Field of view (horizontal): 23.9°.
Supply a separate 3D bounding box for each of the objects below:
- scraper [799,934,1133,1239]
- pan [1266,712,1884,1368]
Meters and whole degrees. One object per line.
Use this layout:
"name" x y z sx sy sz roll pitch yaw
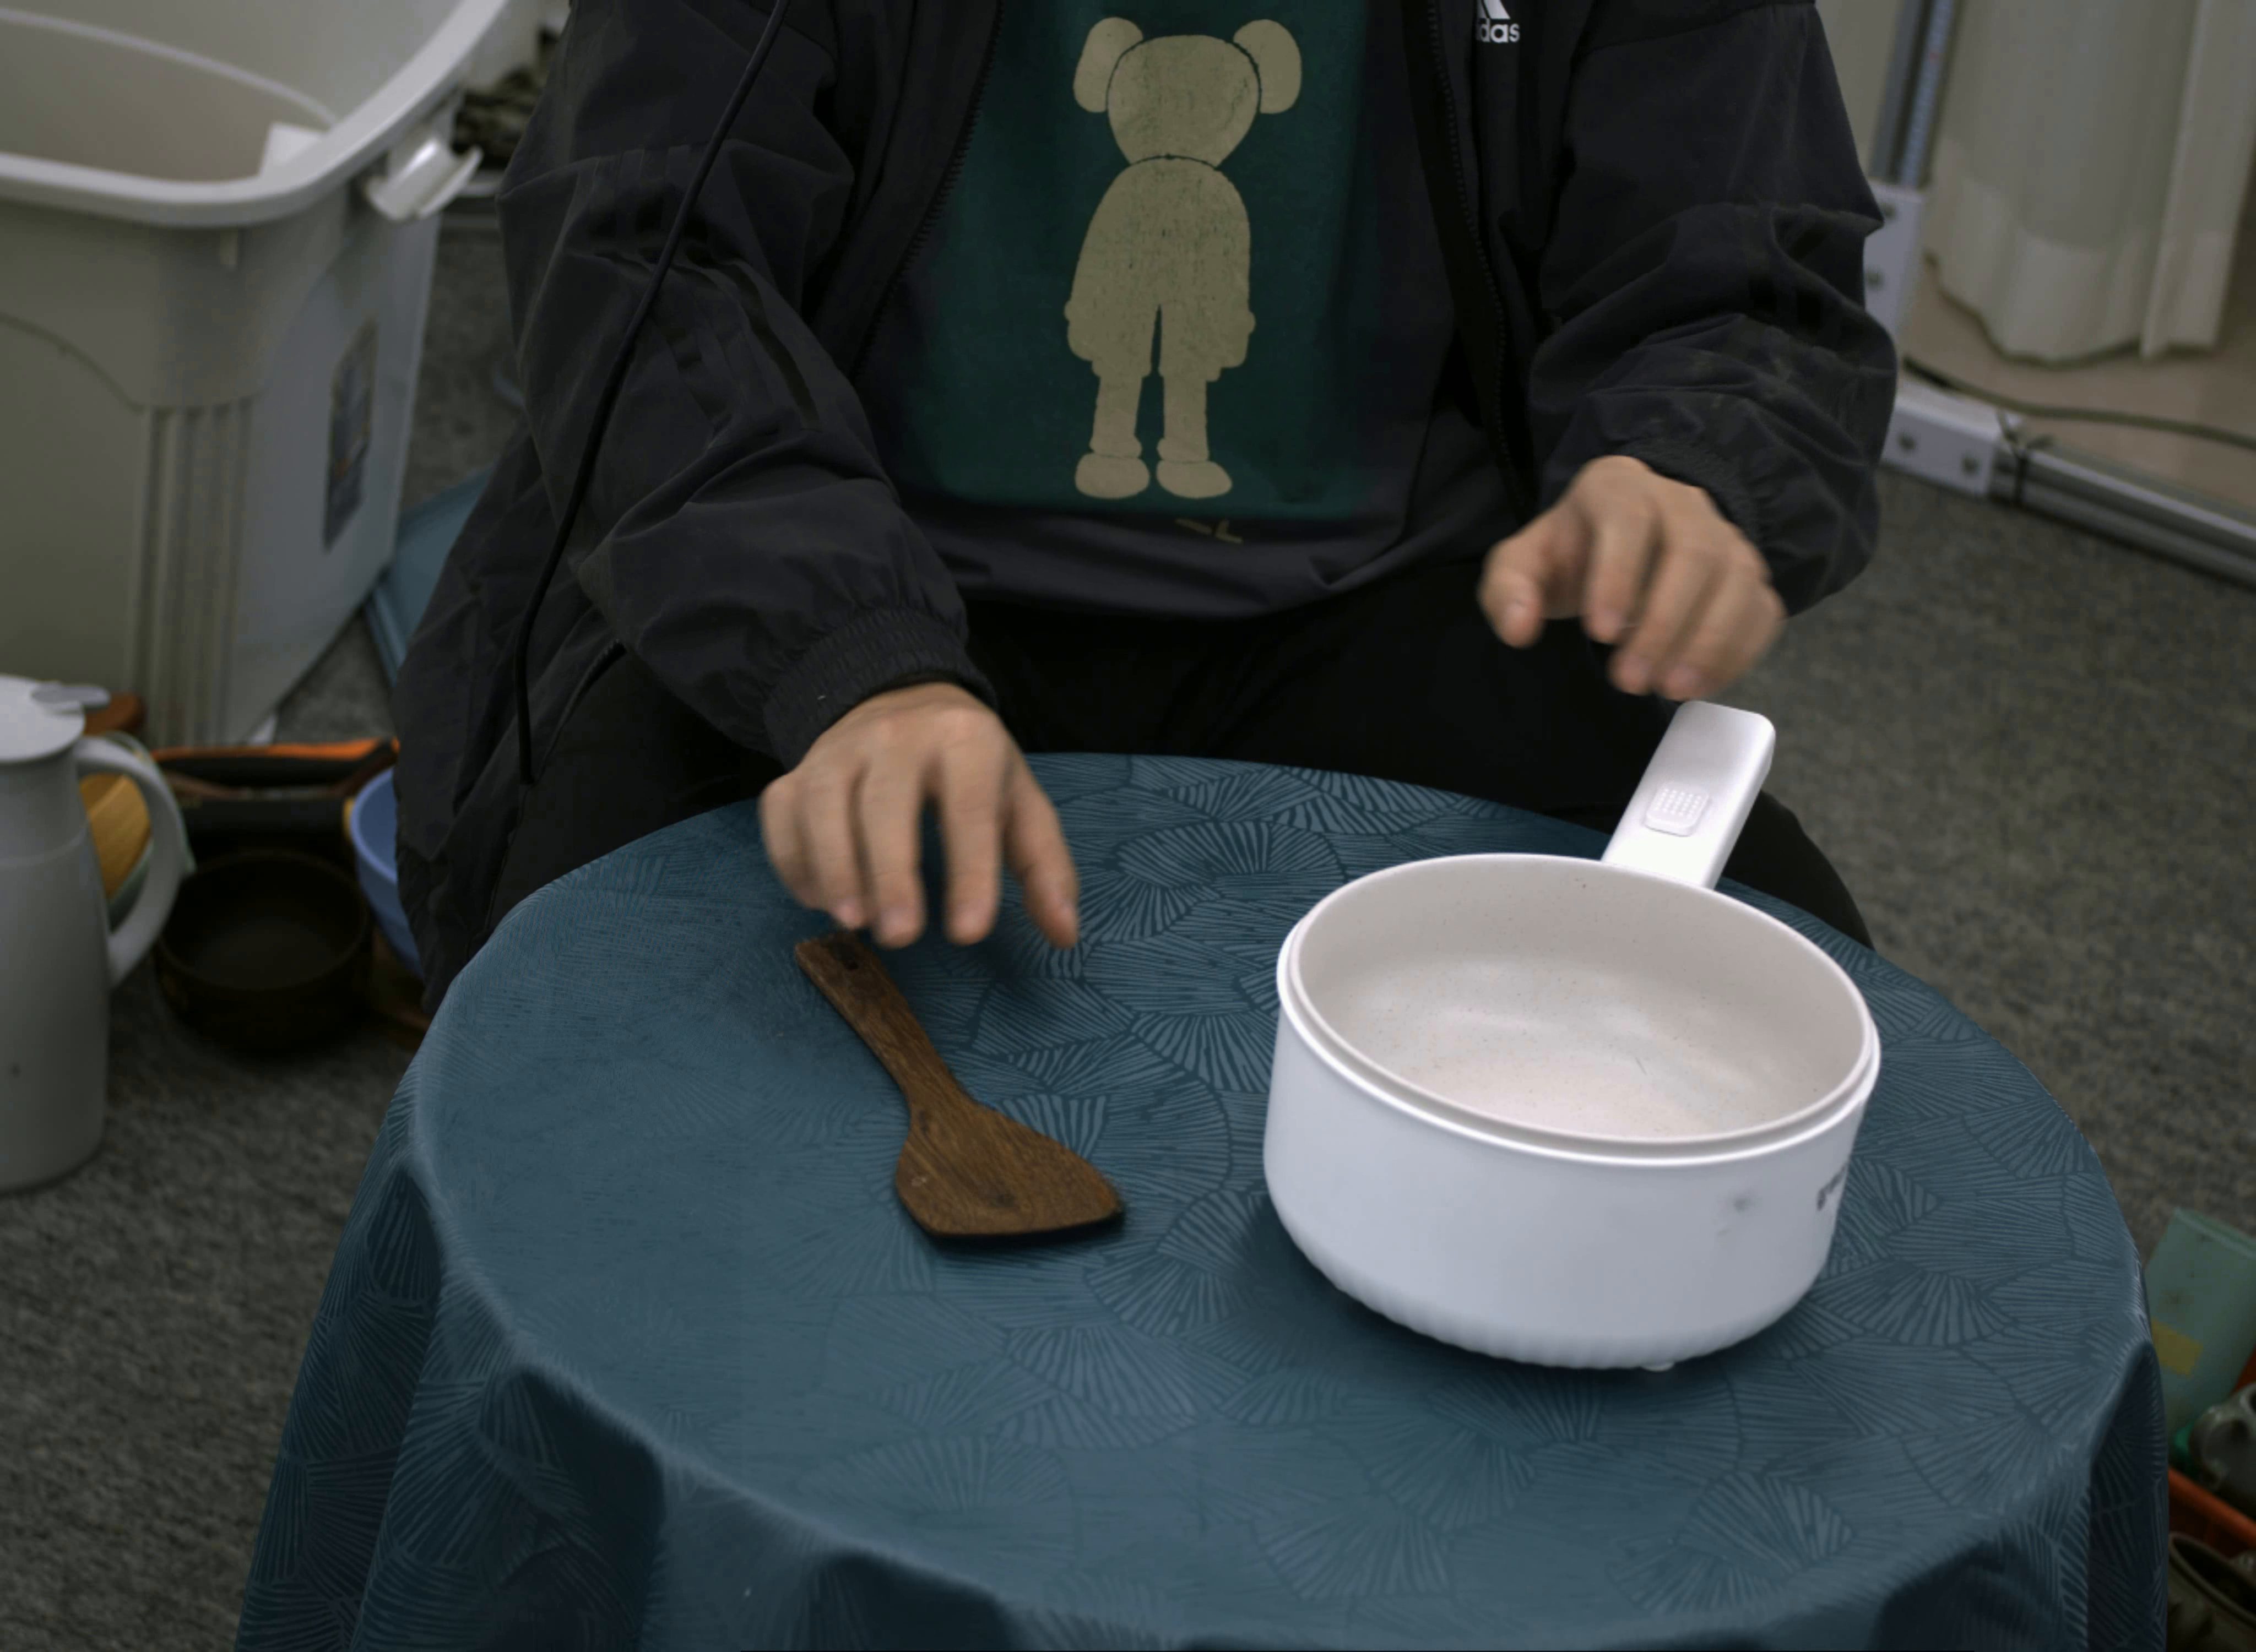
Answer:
"scraper" -0.069 0.089 1.848 0.075 0.011 0.213 -5 29 -23
"pan" 0.168 0.069 1.843 0.201 0.102 0.355 13 26 13
